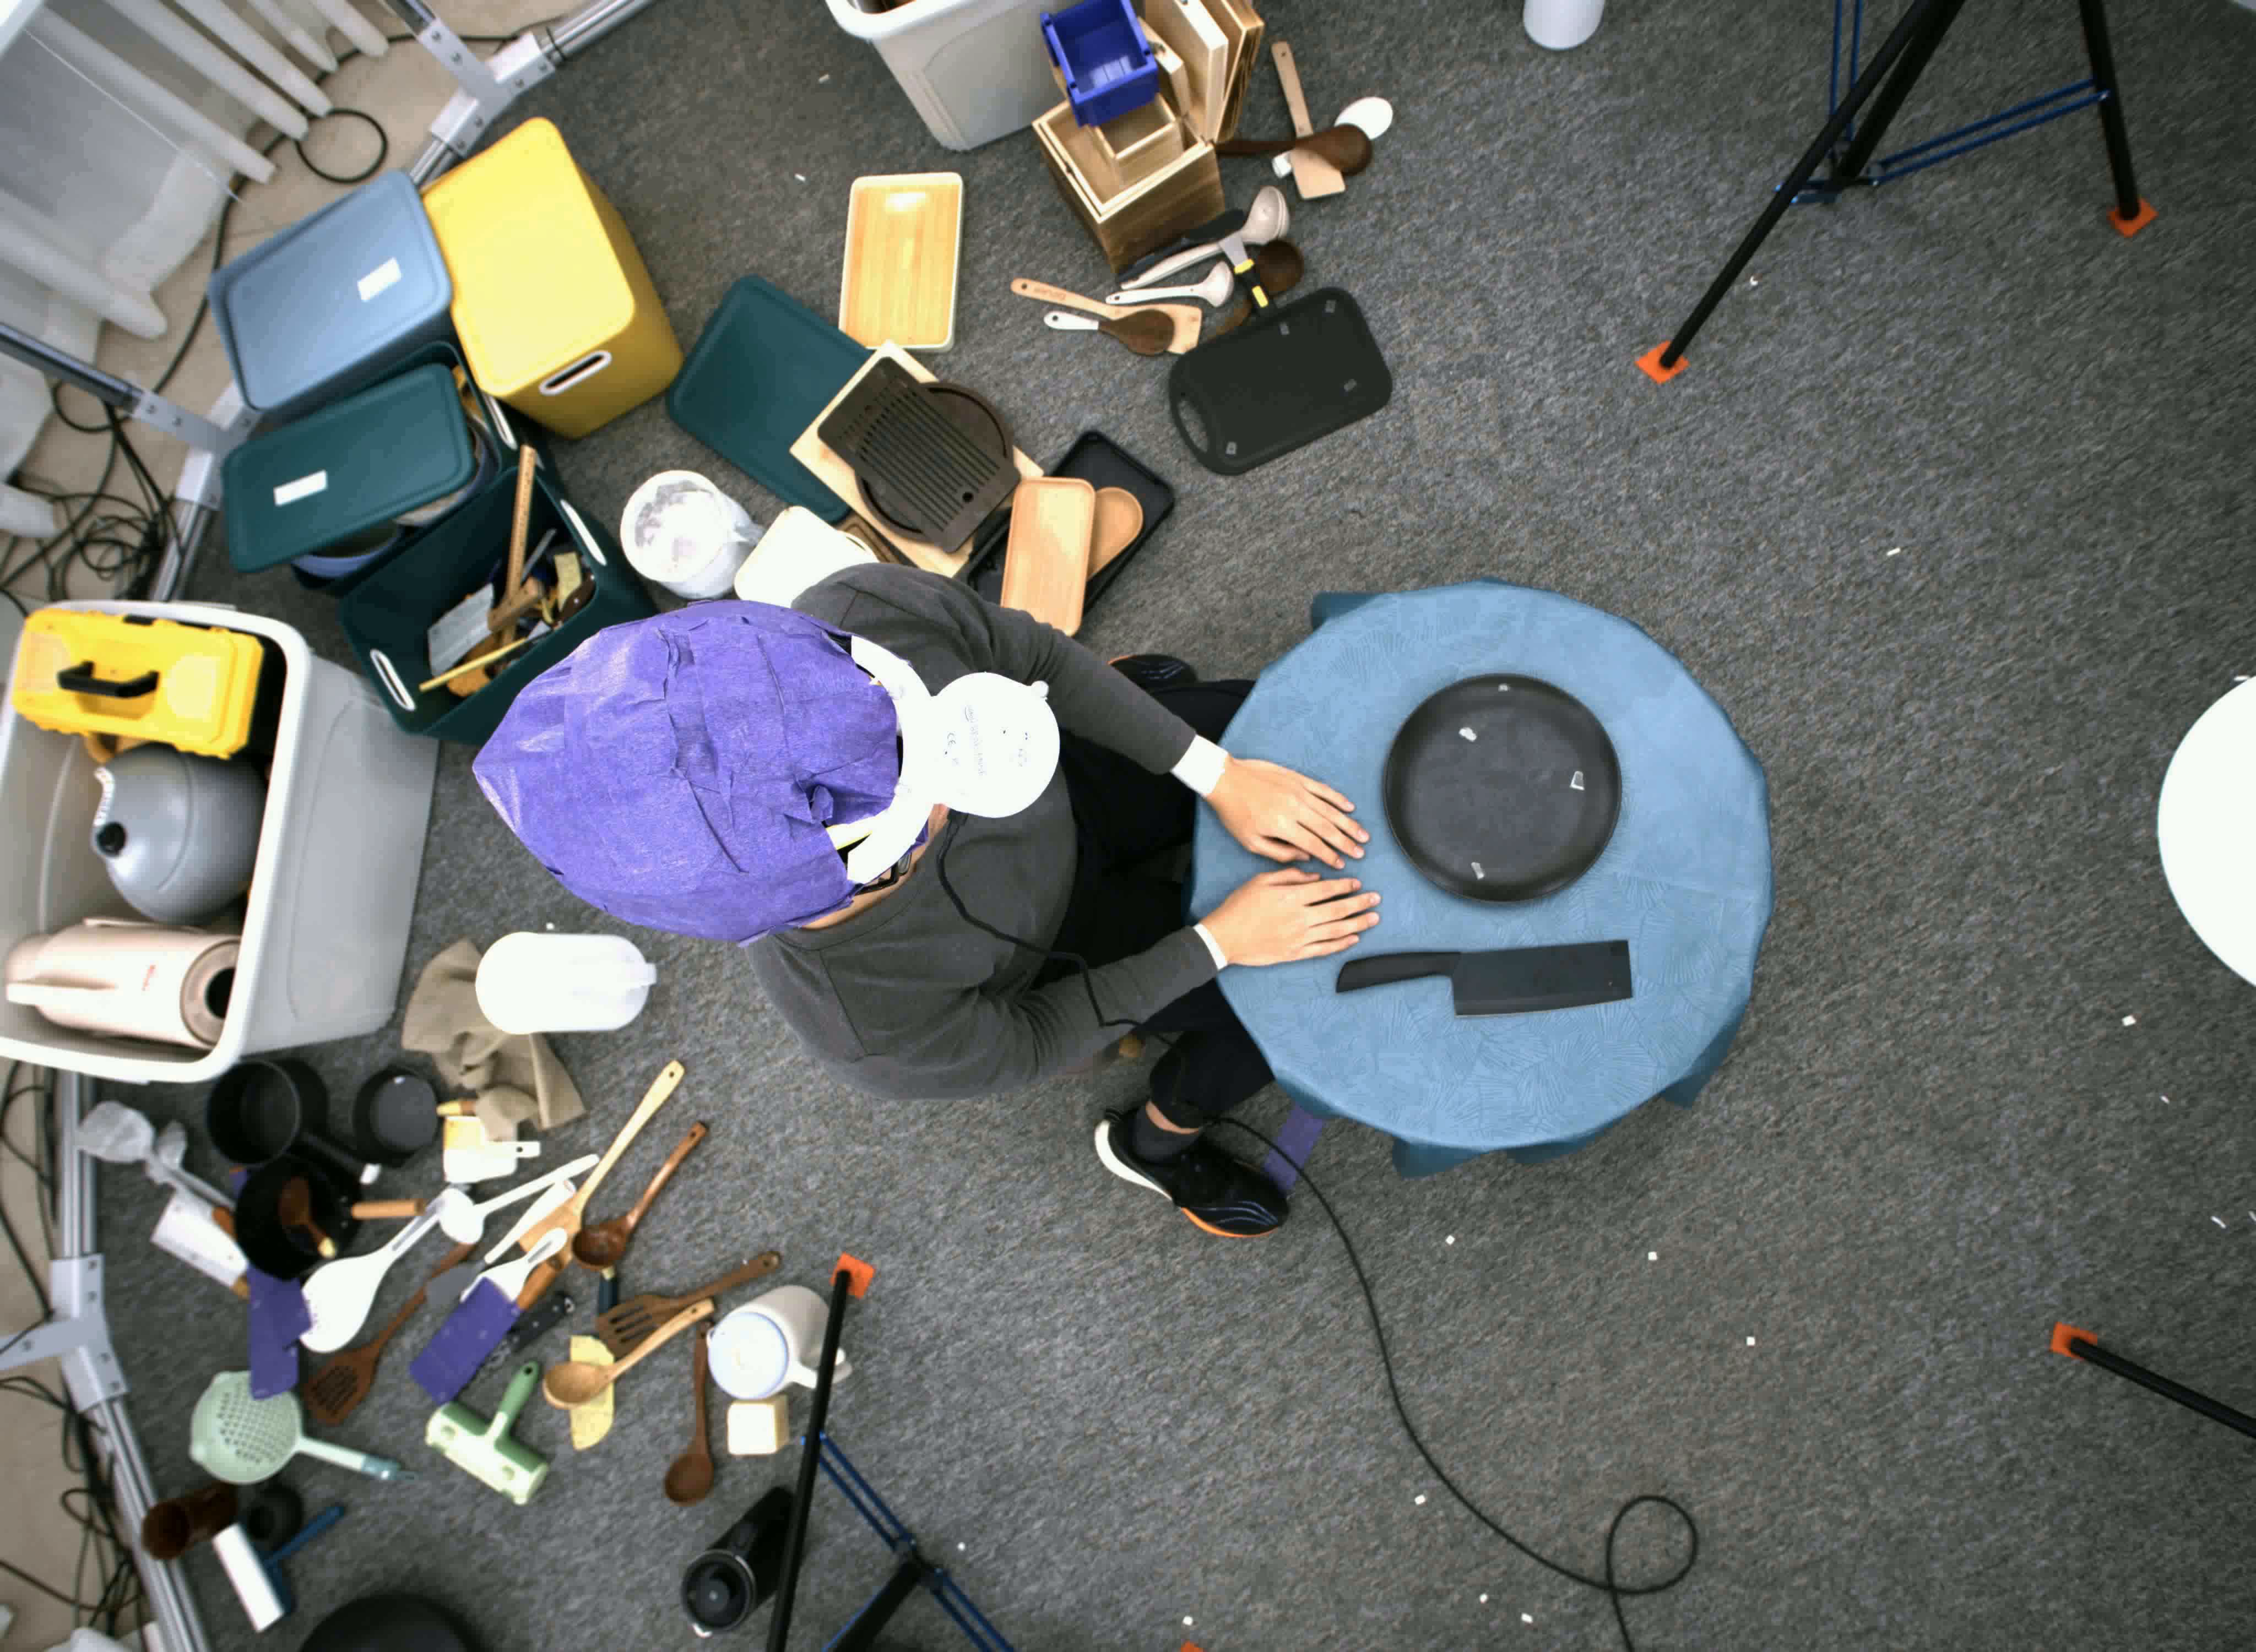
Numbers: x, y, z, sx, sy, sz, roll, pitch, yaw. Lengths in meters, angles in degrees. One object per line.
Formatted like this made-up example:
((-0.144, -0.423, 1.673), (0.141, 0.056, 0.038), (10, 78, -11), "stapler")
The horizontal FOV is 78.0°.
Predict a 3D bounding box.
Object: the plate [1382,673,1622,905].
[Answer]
((0.388, -0.041, 1.432), (0.245, 0.023, 0.243), (-1, 87, 11), "plate")

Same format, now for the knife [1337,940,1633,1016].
((0.368, 0.156, 1.430), (0.303, 0.021, 0.080), (-1, 87, 9), "knife")
